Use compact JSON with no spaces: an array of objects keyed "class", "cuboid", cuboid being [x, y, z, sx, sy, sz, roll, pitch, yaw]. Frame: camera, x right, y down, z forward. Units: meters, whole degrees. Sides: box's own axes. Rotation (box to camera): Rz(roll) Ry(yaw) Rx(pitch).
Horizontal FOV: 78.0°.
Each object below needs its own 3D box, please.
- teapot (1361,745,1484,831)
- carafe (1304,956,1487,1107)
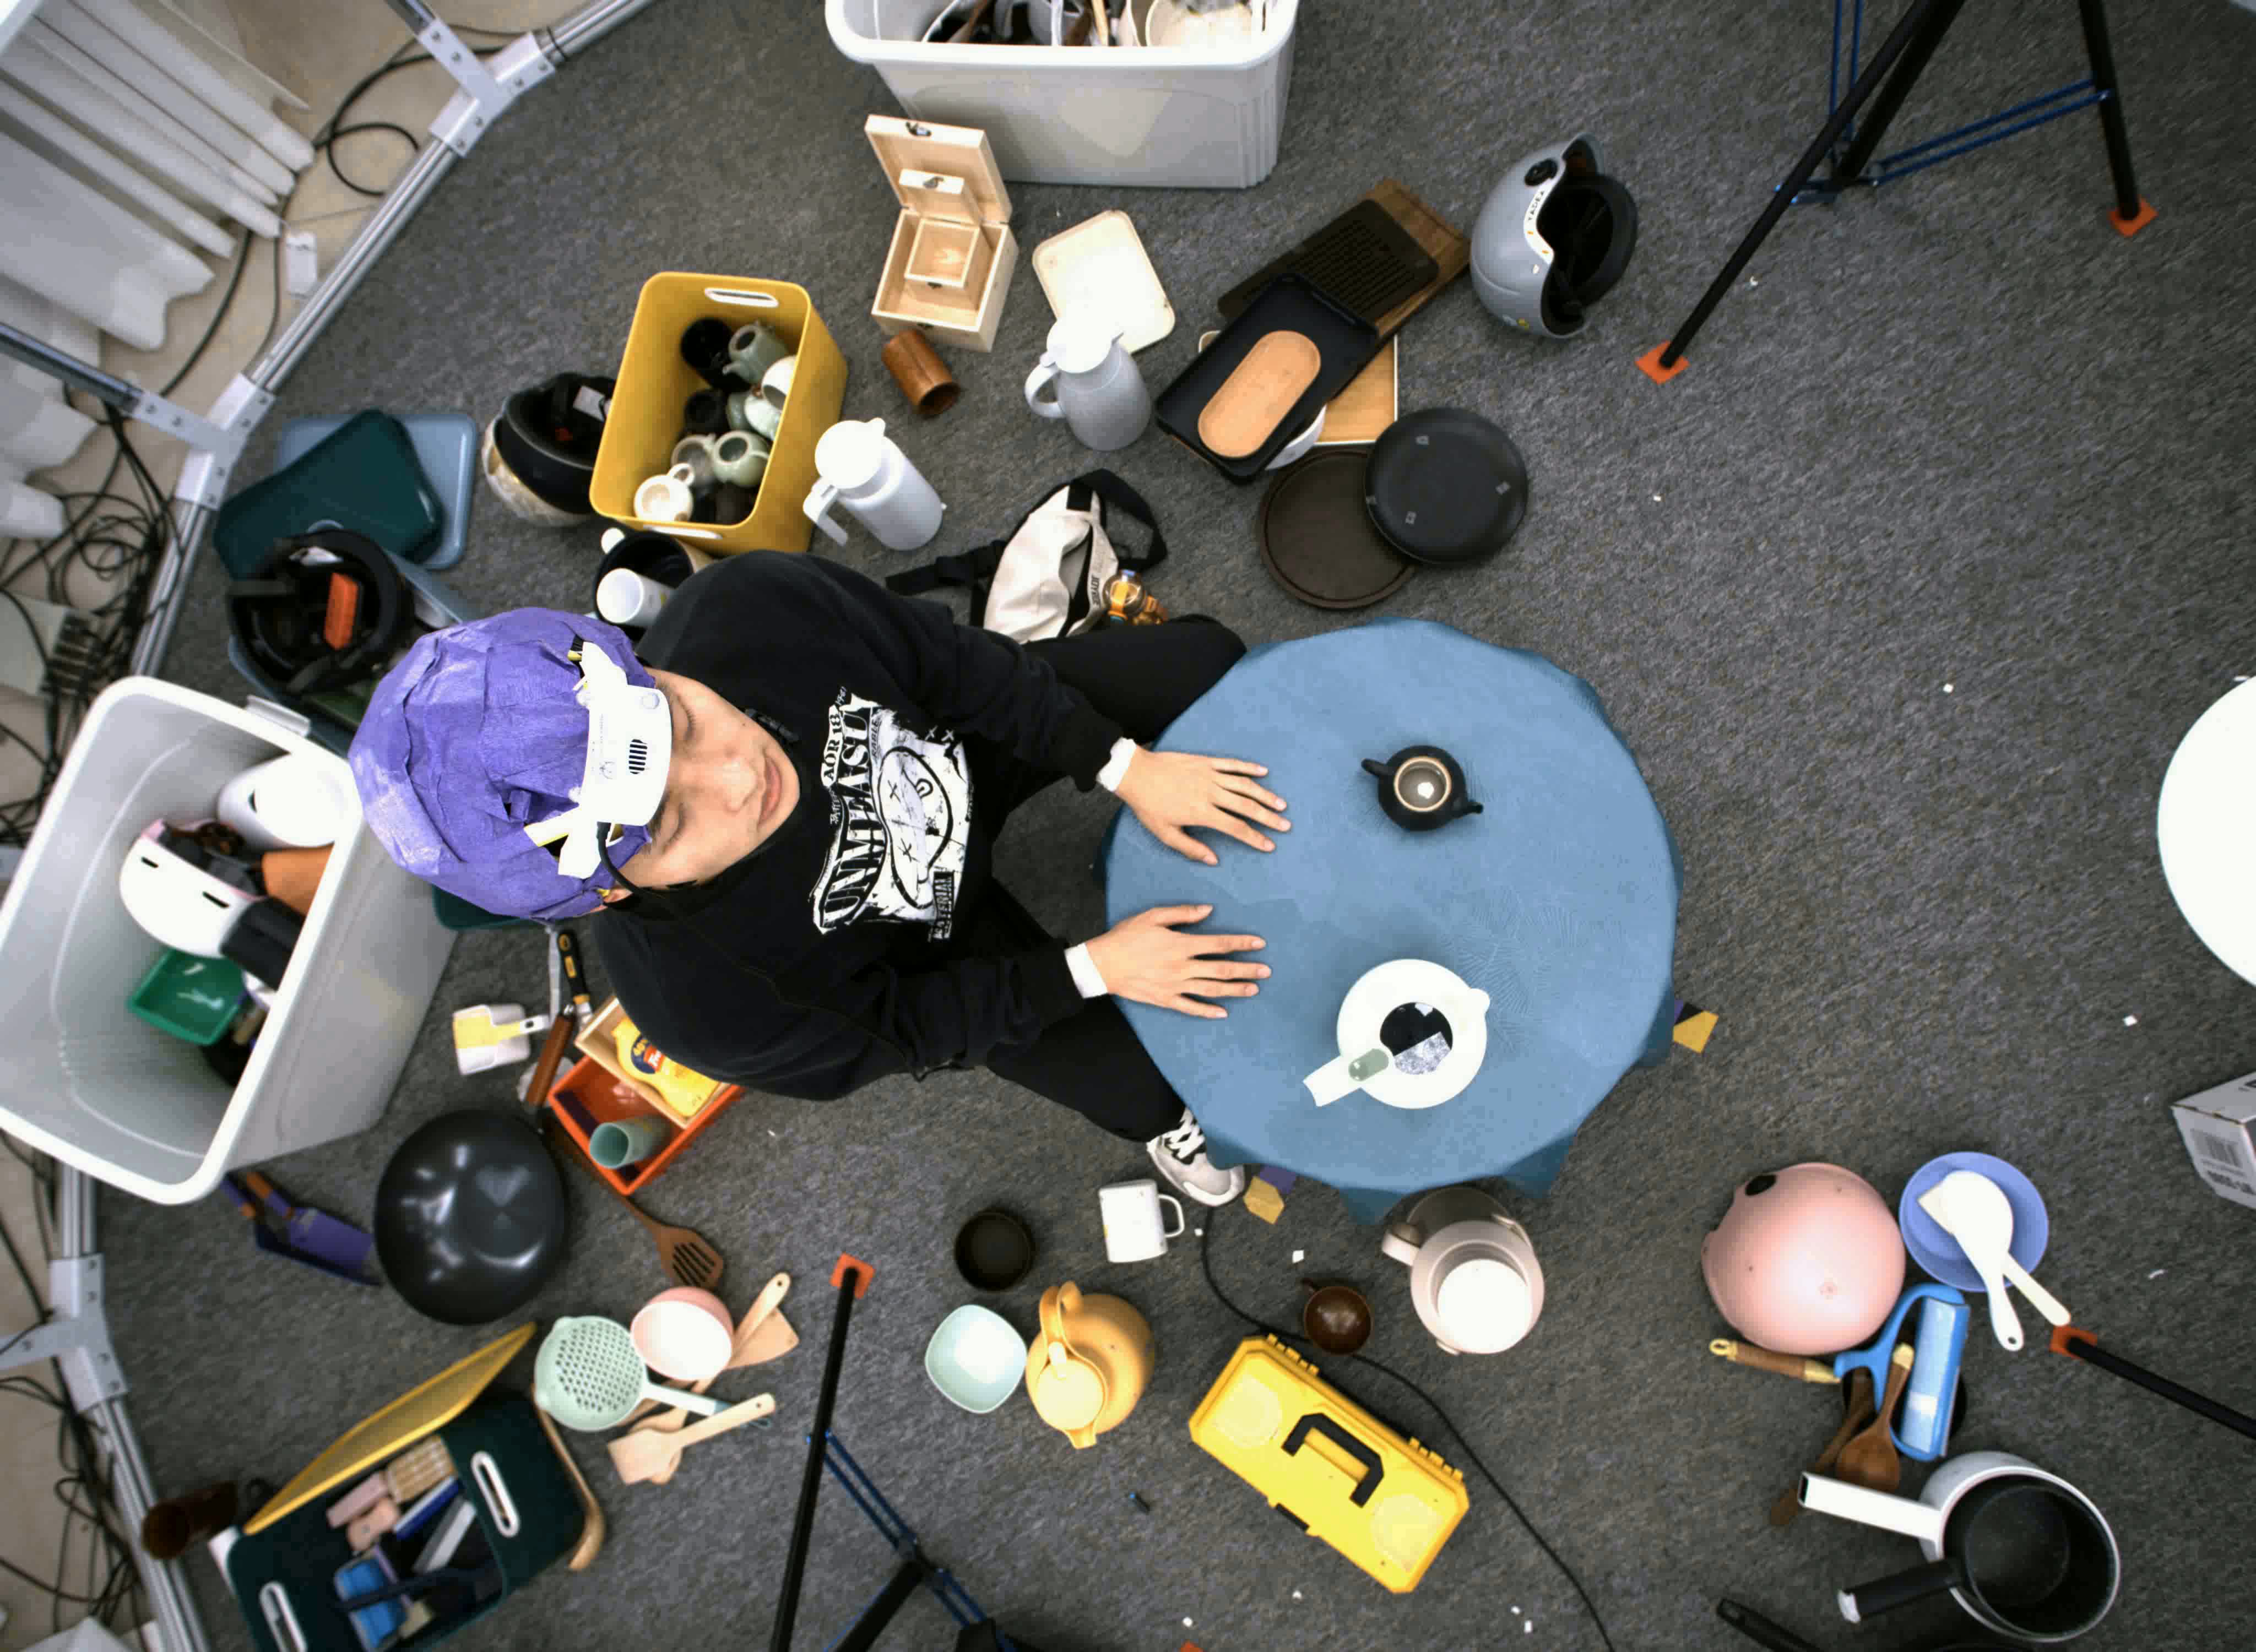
[{"class":"teapot","cuboid":[0.305,-0.042,1.433,0.133,0.053,0.091,24,89,11]},{"class":"carafe","cuboid":[0.259,0.205,1.330,0.188,0.256,0.143,-32,81,10]}]
